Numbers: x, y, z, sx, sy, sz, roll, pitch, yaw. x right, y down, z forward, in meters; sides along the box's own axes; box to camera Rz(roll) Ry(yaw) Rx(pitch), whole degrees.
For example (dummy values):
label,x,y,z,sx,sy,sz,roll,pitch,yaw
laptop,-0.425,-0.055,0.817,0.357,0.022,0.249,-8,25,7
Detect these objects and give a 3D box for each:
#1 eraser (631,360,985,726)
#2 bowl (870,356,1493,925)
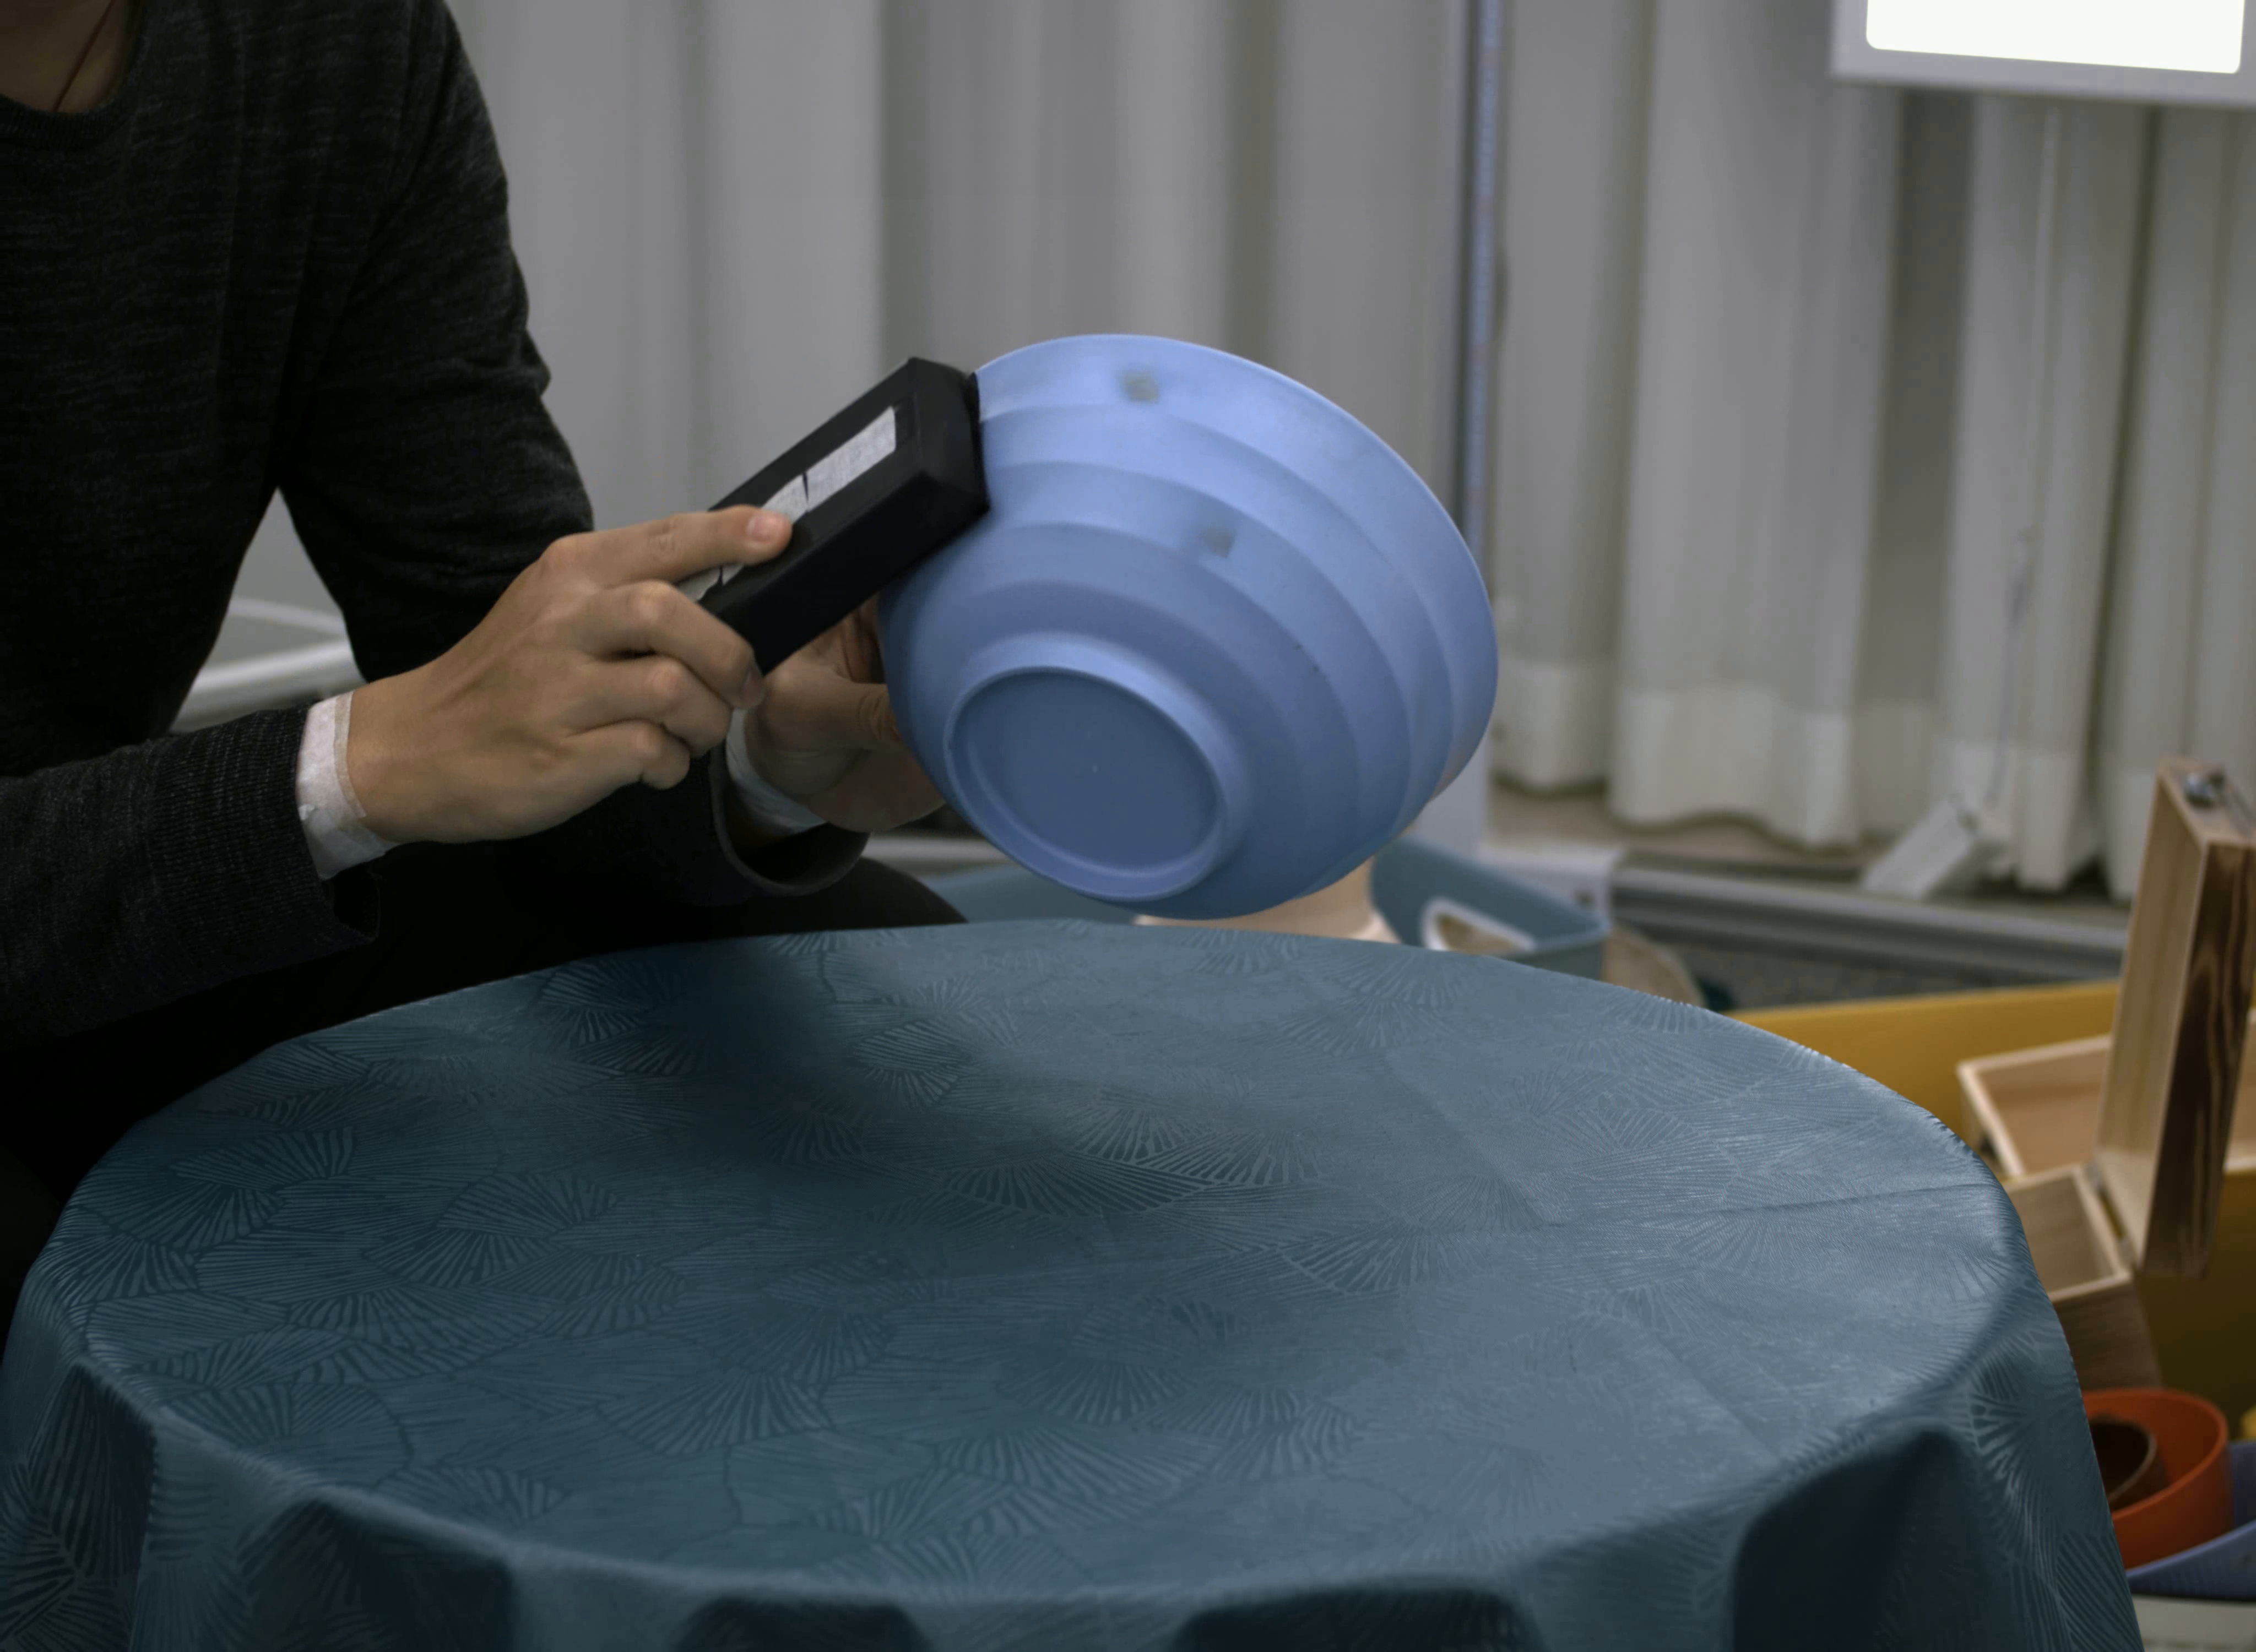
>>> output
label,x,y,z,sx,sy,sz,roll,pitch,yaw
eraser,-0.095,-0.084,1.561,0.031,0.125,0.053,34,33,-36
bowl,0.004,-0.037,1.586,0.194,0.199,0.095,6,49,19
